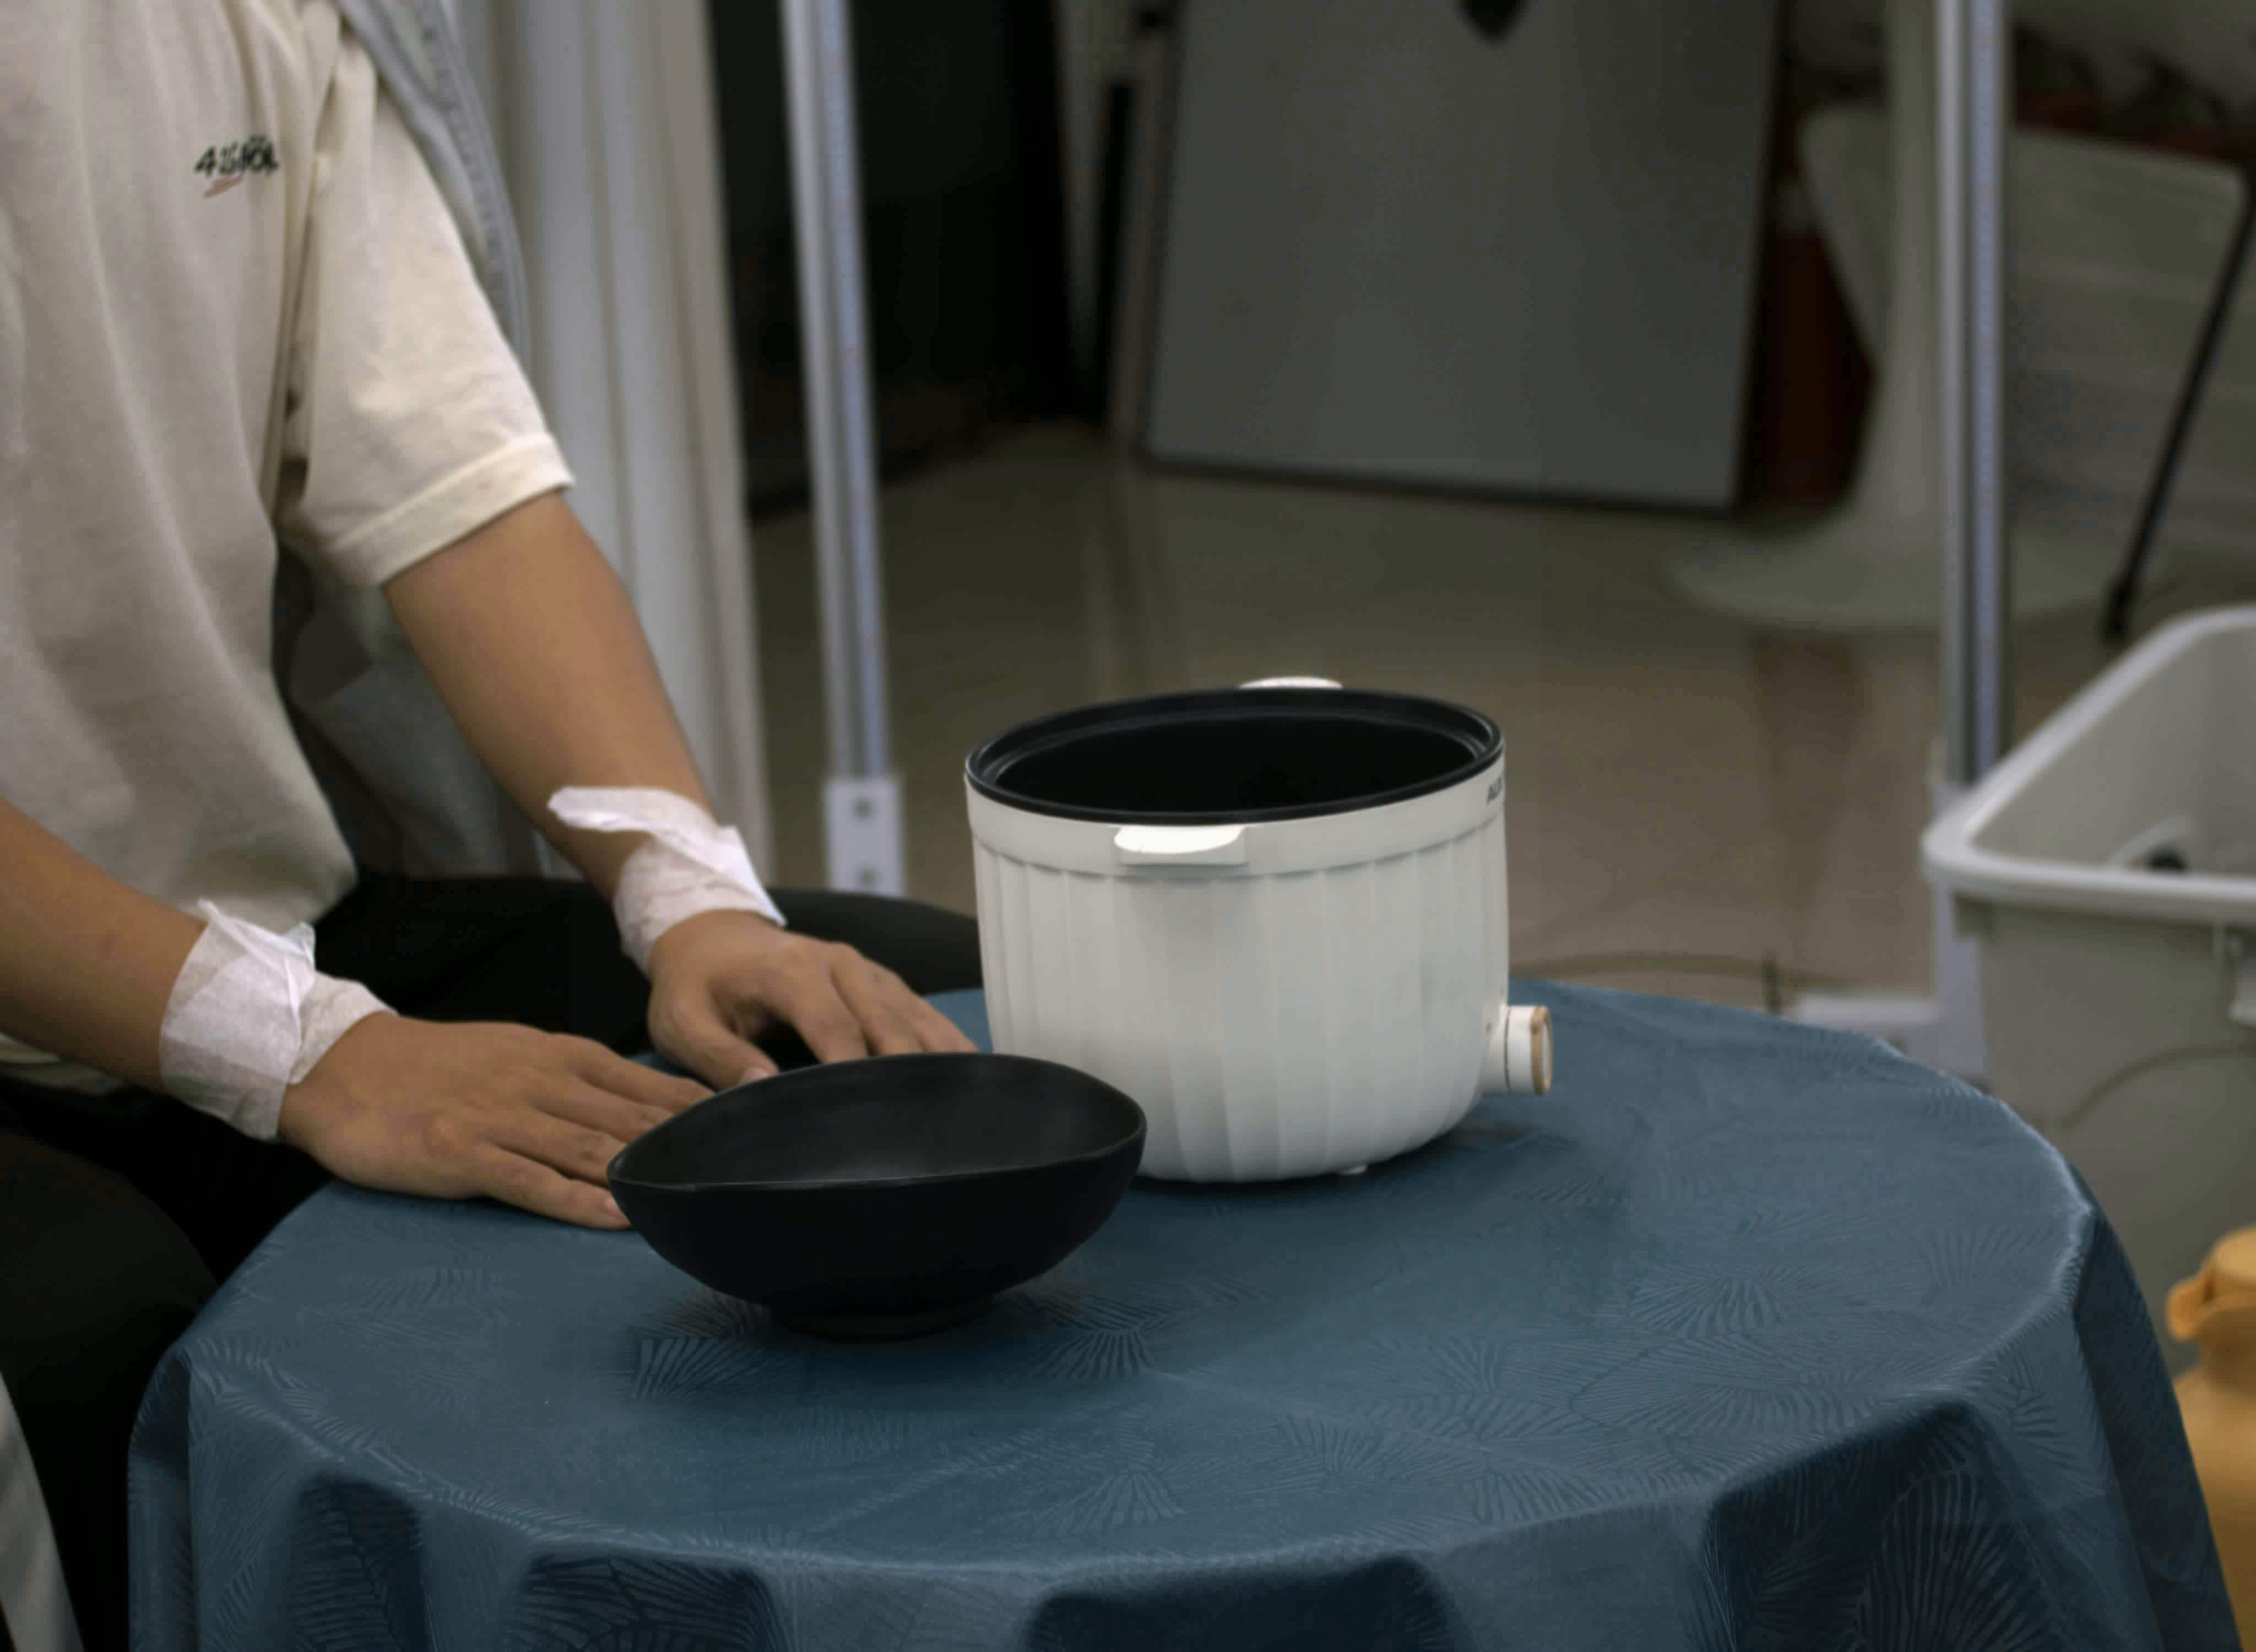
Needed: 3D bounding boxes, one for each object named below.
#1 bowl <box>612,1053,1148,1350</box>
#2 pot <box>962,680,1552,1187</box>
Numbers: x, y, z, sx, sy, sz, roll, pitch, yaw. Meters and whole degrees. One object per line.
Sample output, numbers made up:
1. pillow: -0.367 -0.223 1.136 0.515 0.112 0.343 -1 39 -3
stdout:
1. bowl: -0.076 0.121 1.666 0.169 0.067 0.137 -3 12 7
2. pot: 0.044 0.038 1.811 0.189 0.144 0.239 -4 14 13
